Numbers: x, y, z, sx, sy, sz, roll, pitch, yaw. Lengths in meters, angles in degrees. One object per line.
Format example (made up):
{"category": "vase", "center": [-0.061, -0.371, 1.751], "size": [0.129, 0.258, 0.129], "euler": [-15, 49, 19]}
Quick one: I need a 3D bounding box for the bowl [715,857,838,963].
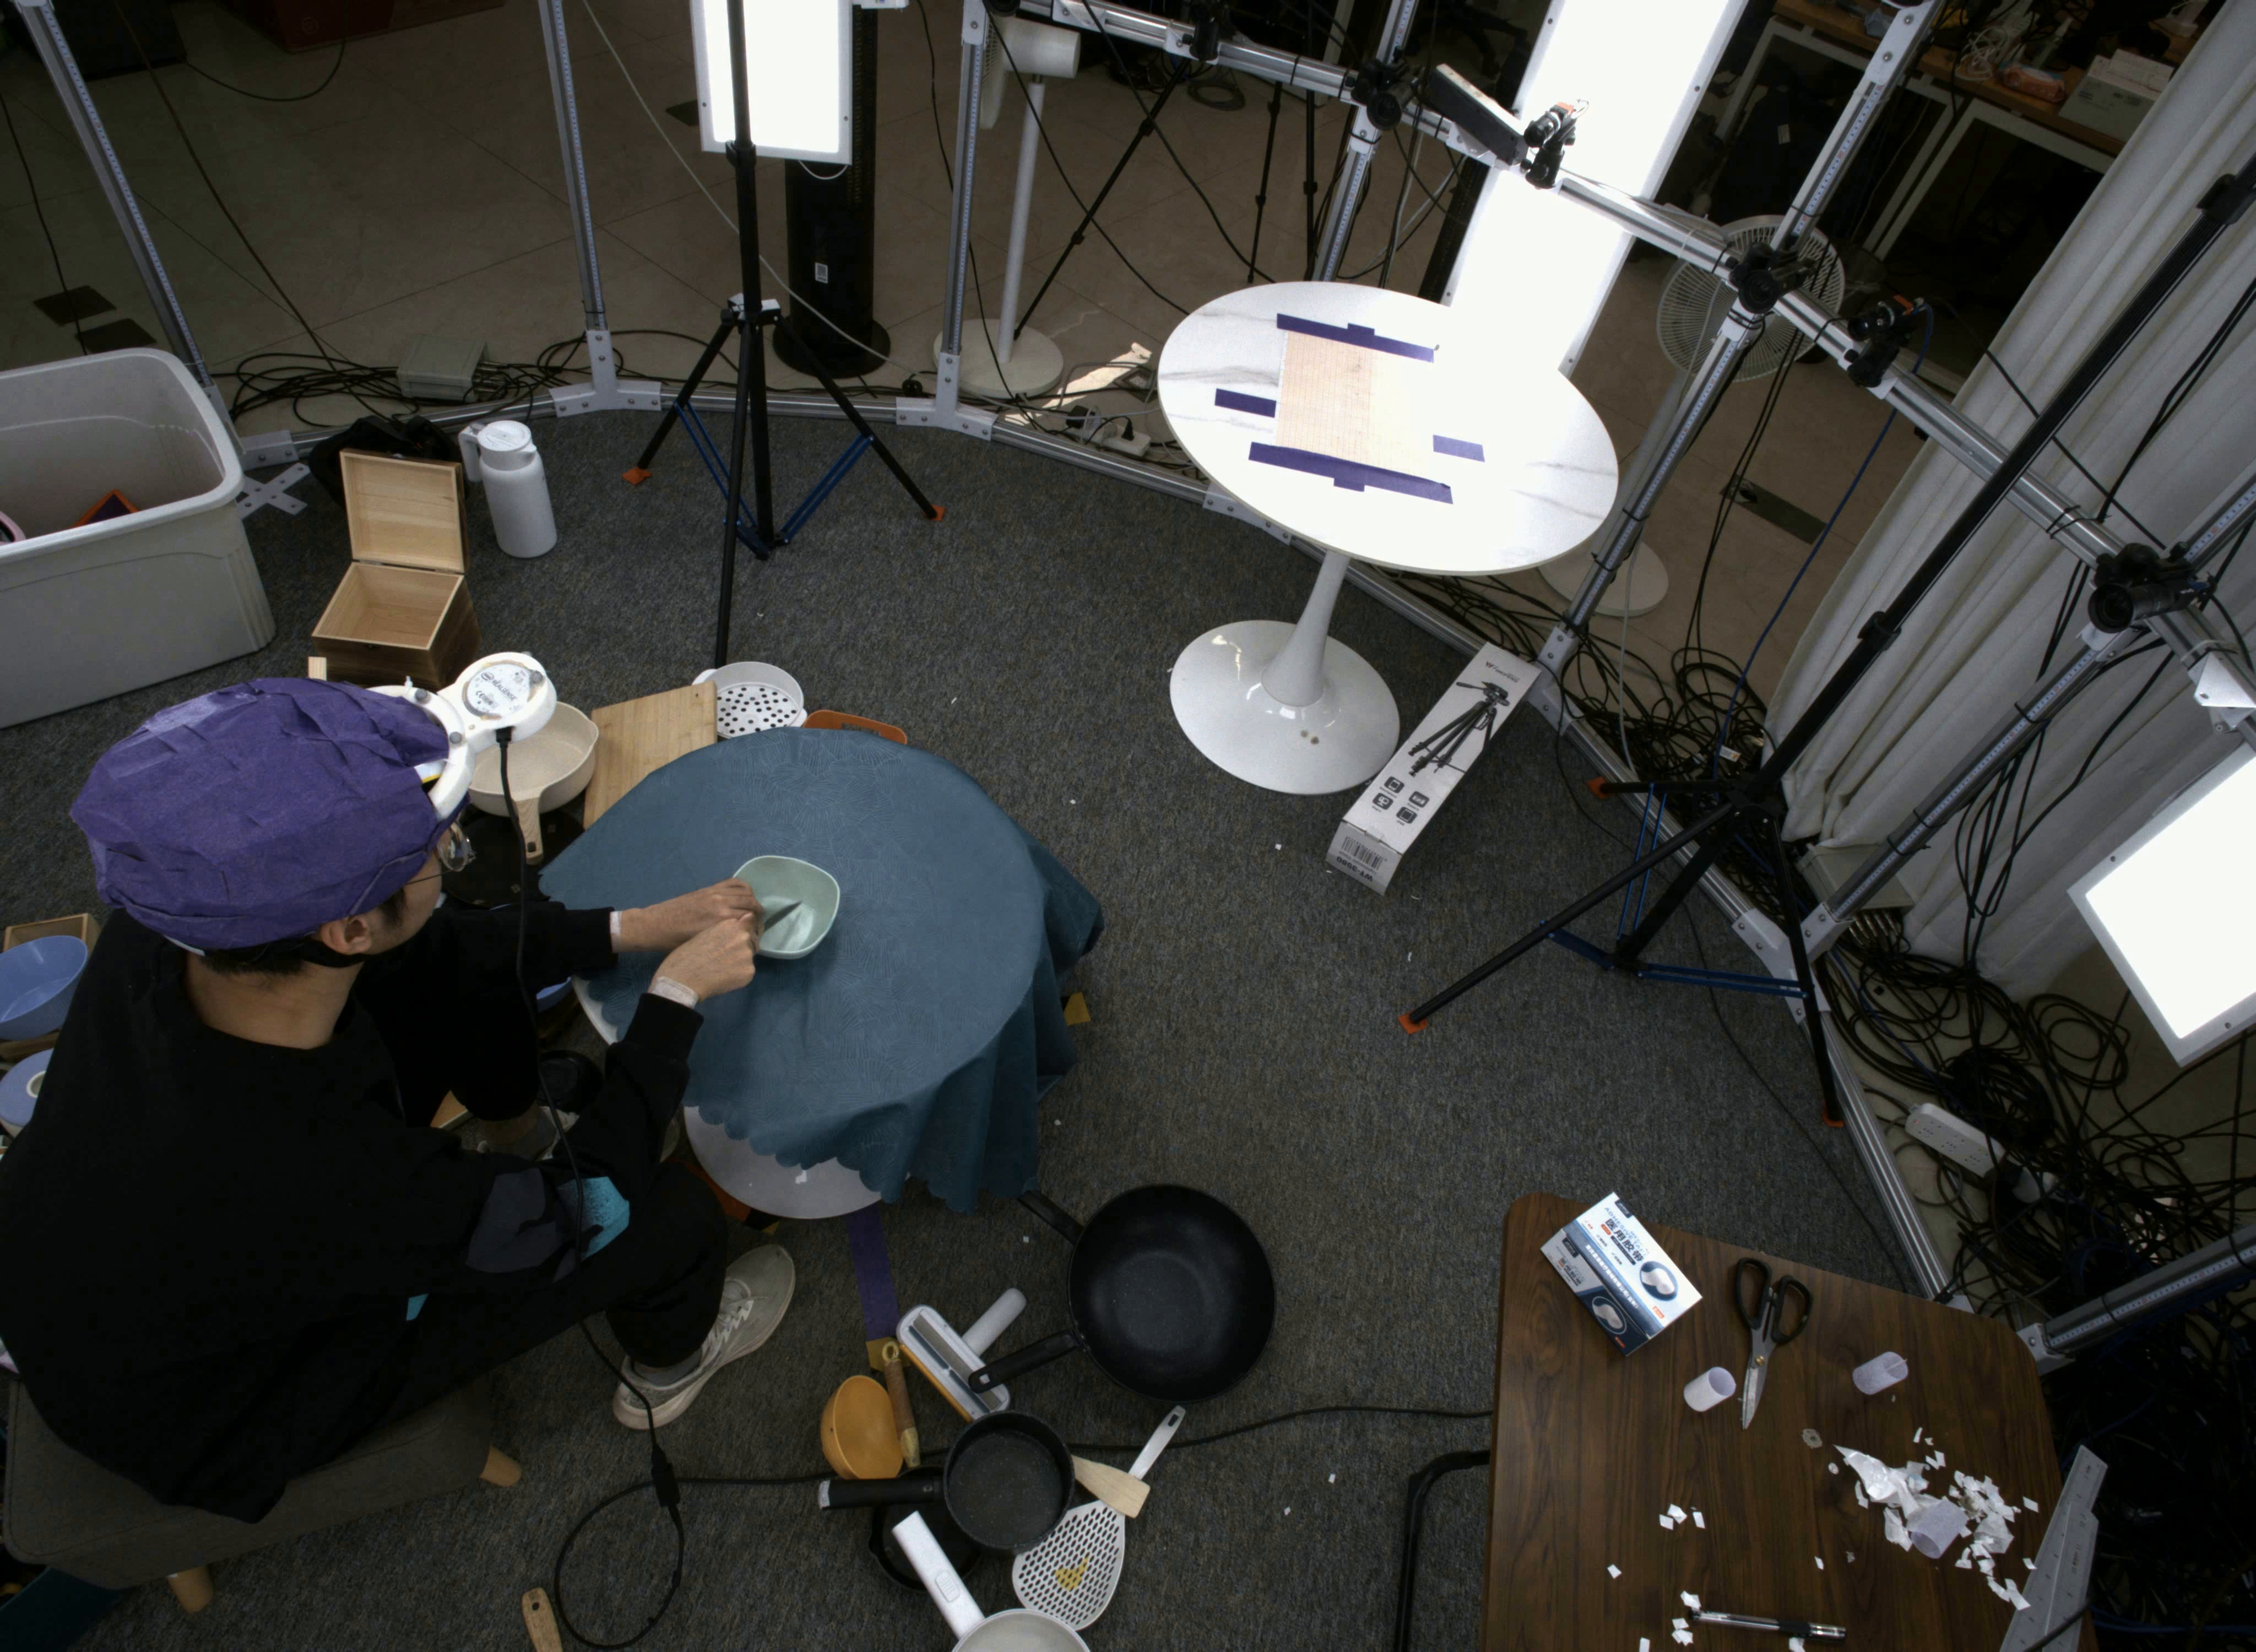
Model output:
{"category": "bowl", "center": [-0.431, 0.112, 1.593], "size": [0.151, 0.060, 0.149], "euler": [9, 53, -10]}

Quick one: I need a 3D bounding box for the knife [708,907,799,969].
{"category": "knife", "center": [-0.435, 0.122, 1.521], "size": [0.017, 0.026, 0.224], "euler": [28, 17, 4]}
